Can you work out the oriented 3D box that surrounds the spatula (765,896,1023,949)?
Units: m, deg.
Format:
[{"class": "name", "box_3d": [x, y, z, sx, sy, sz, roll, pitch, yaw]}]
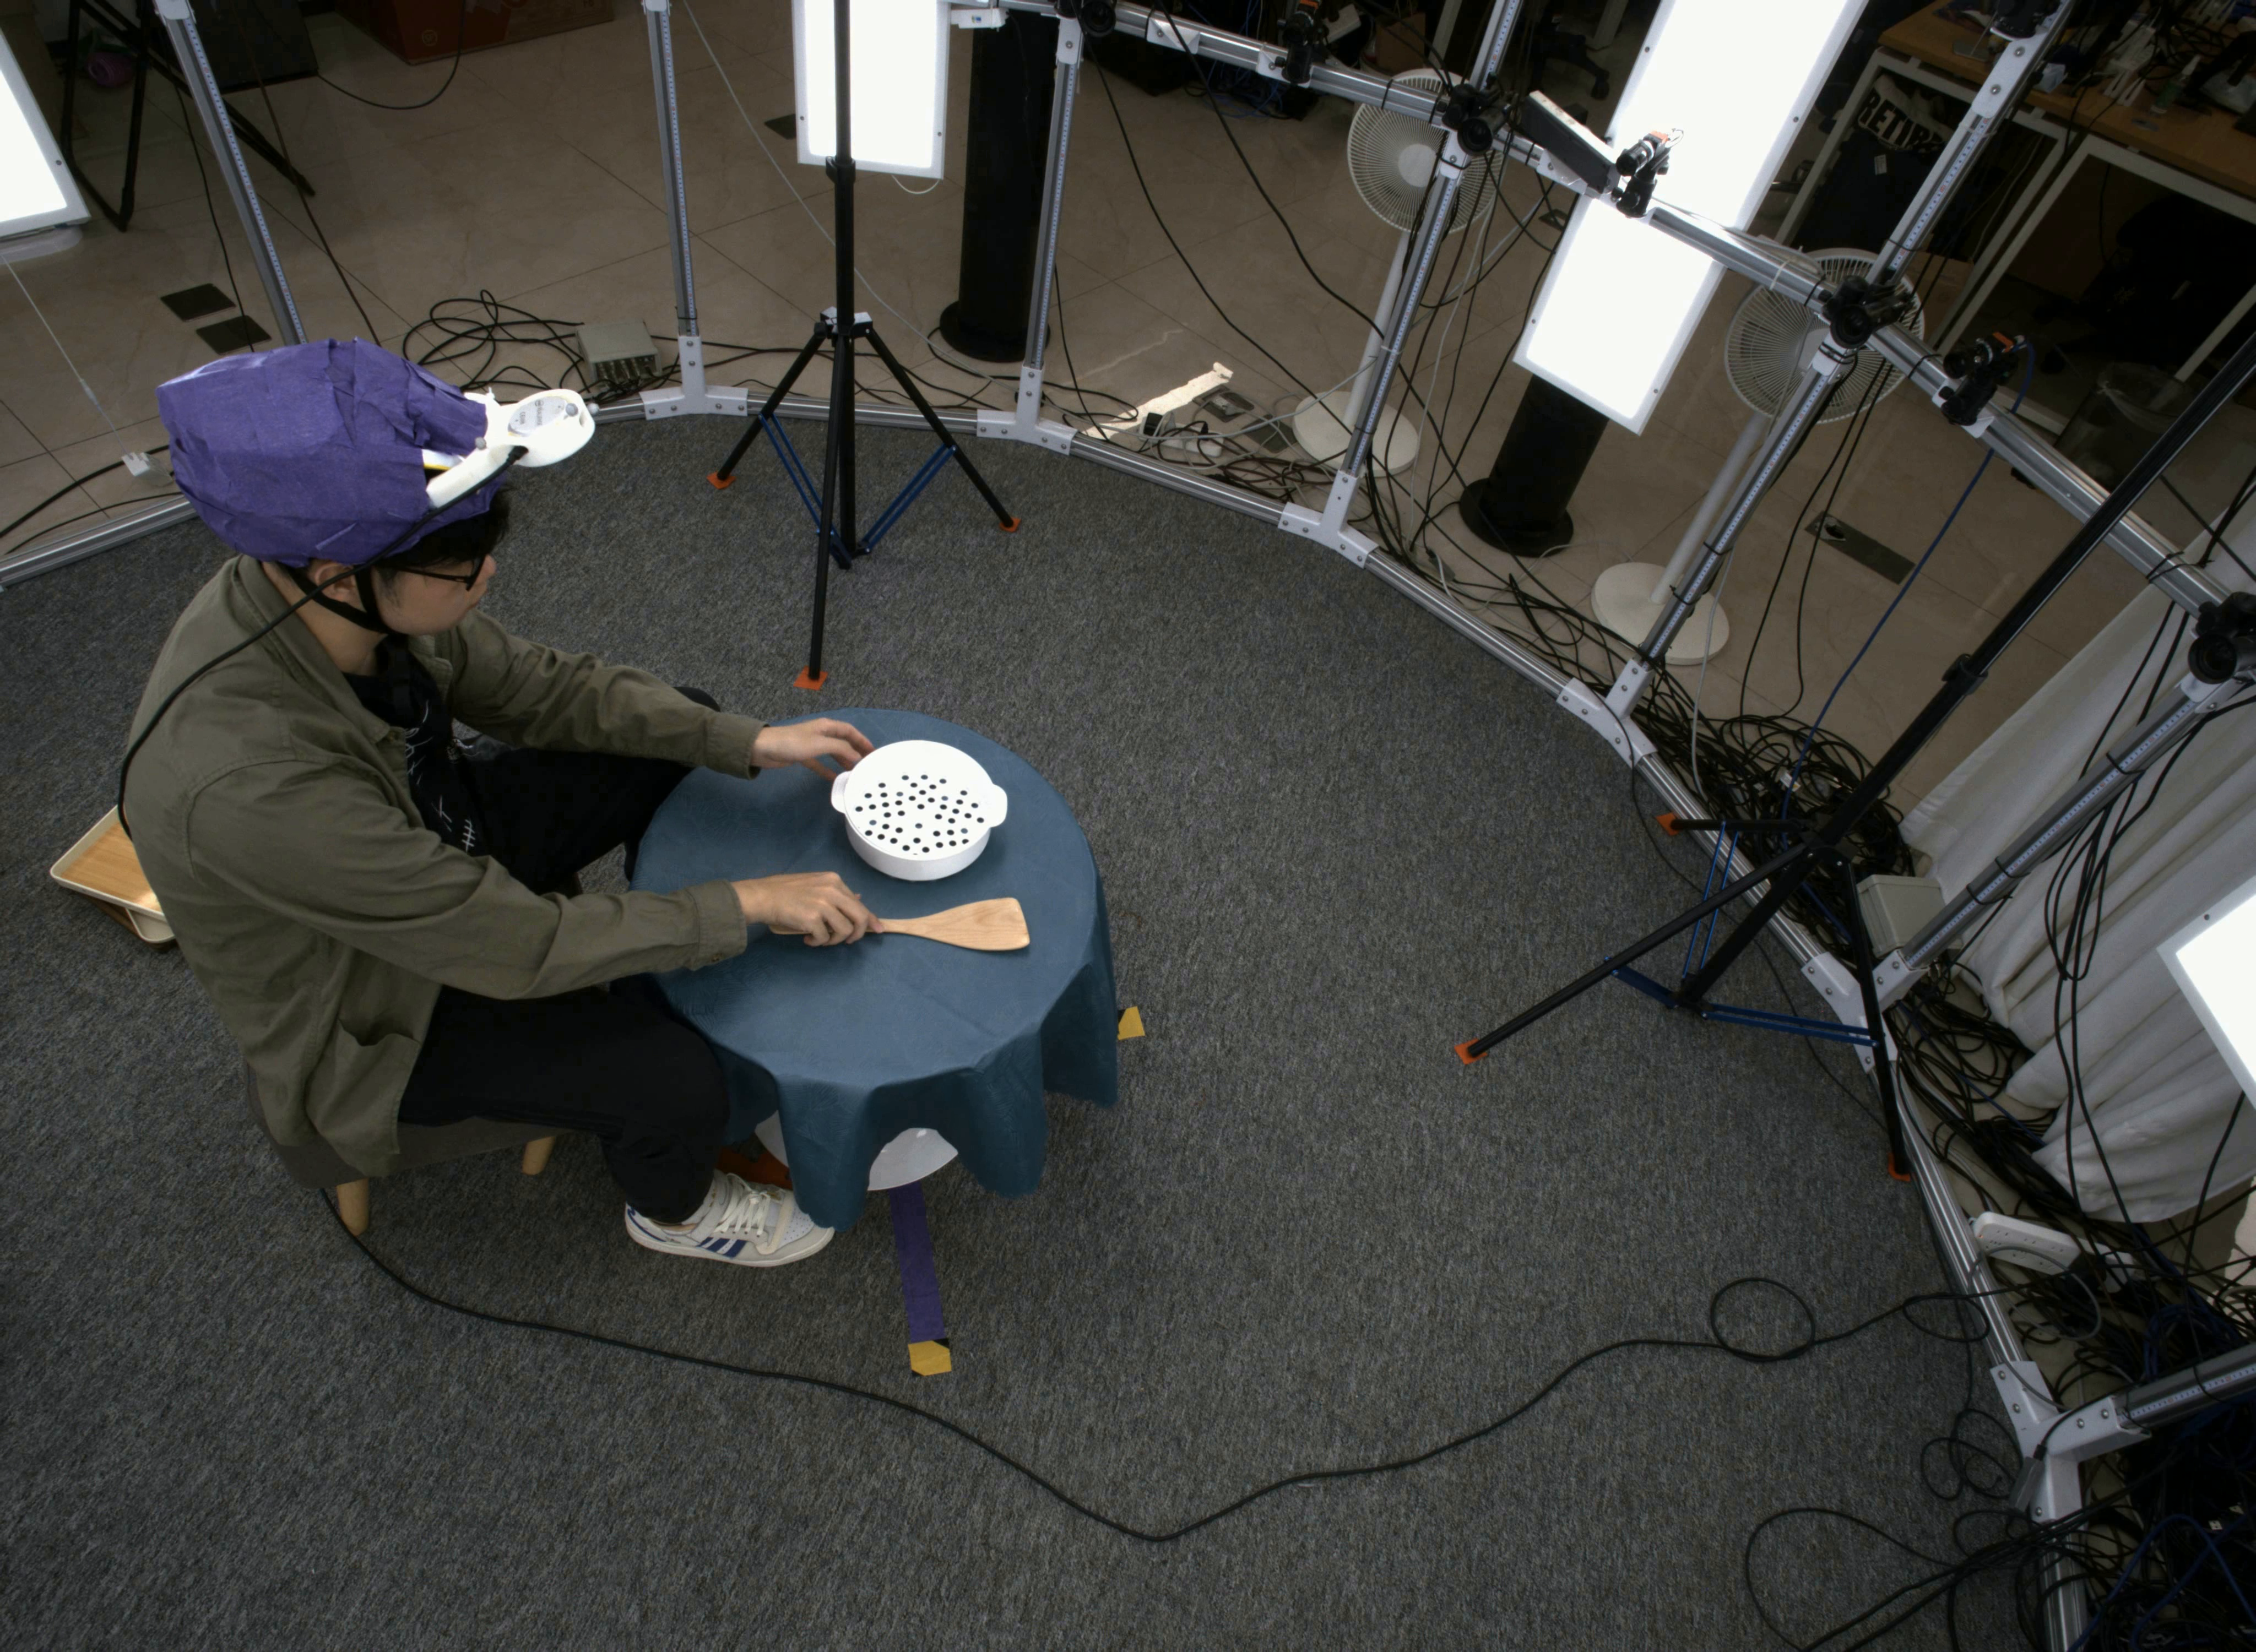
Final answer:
[{"class": "spatula", "box_3d": [-0.299, 0.123, 1.670, 0.328, 0.017, 0.078, 1, 53, -13]}]

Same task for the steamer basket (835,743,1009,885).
[{"class": "steamer basket", "box_3d": [-0.275, -0.017, 1.748, 0.230, 0.071, 0.198, 5, 52, -8]}]
